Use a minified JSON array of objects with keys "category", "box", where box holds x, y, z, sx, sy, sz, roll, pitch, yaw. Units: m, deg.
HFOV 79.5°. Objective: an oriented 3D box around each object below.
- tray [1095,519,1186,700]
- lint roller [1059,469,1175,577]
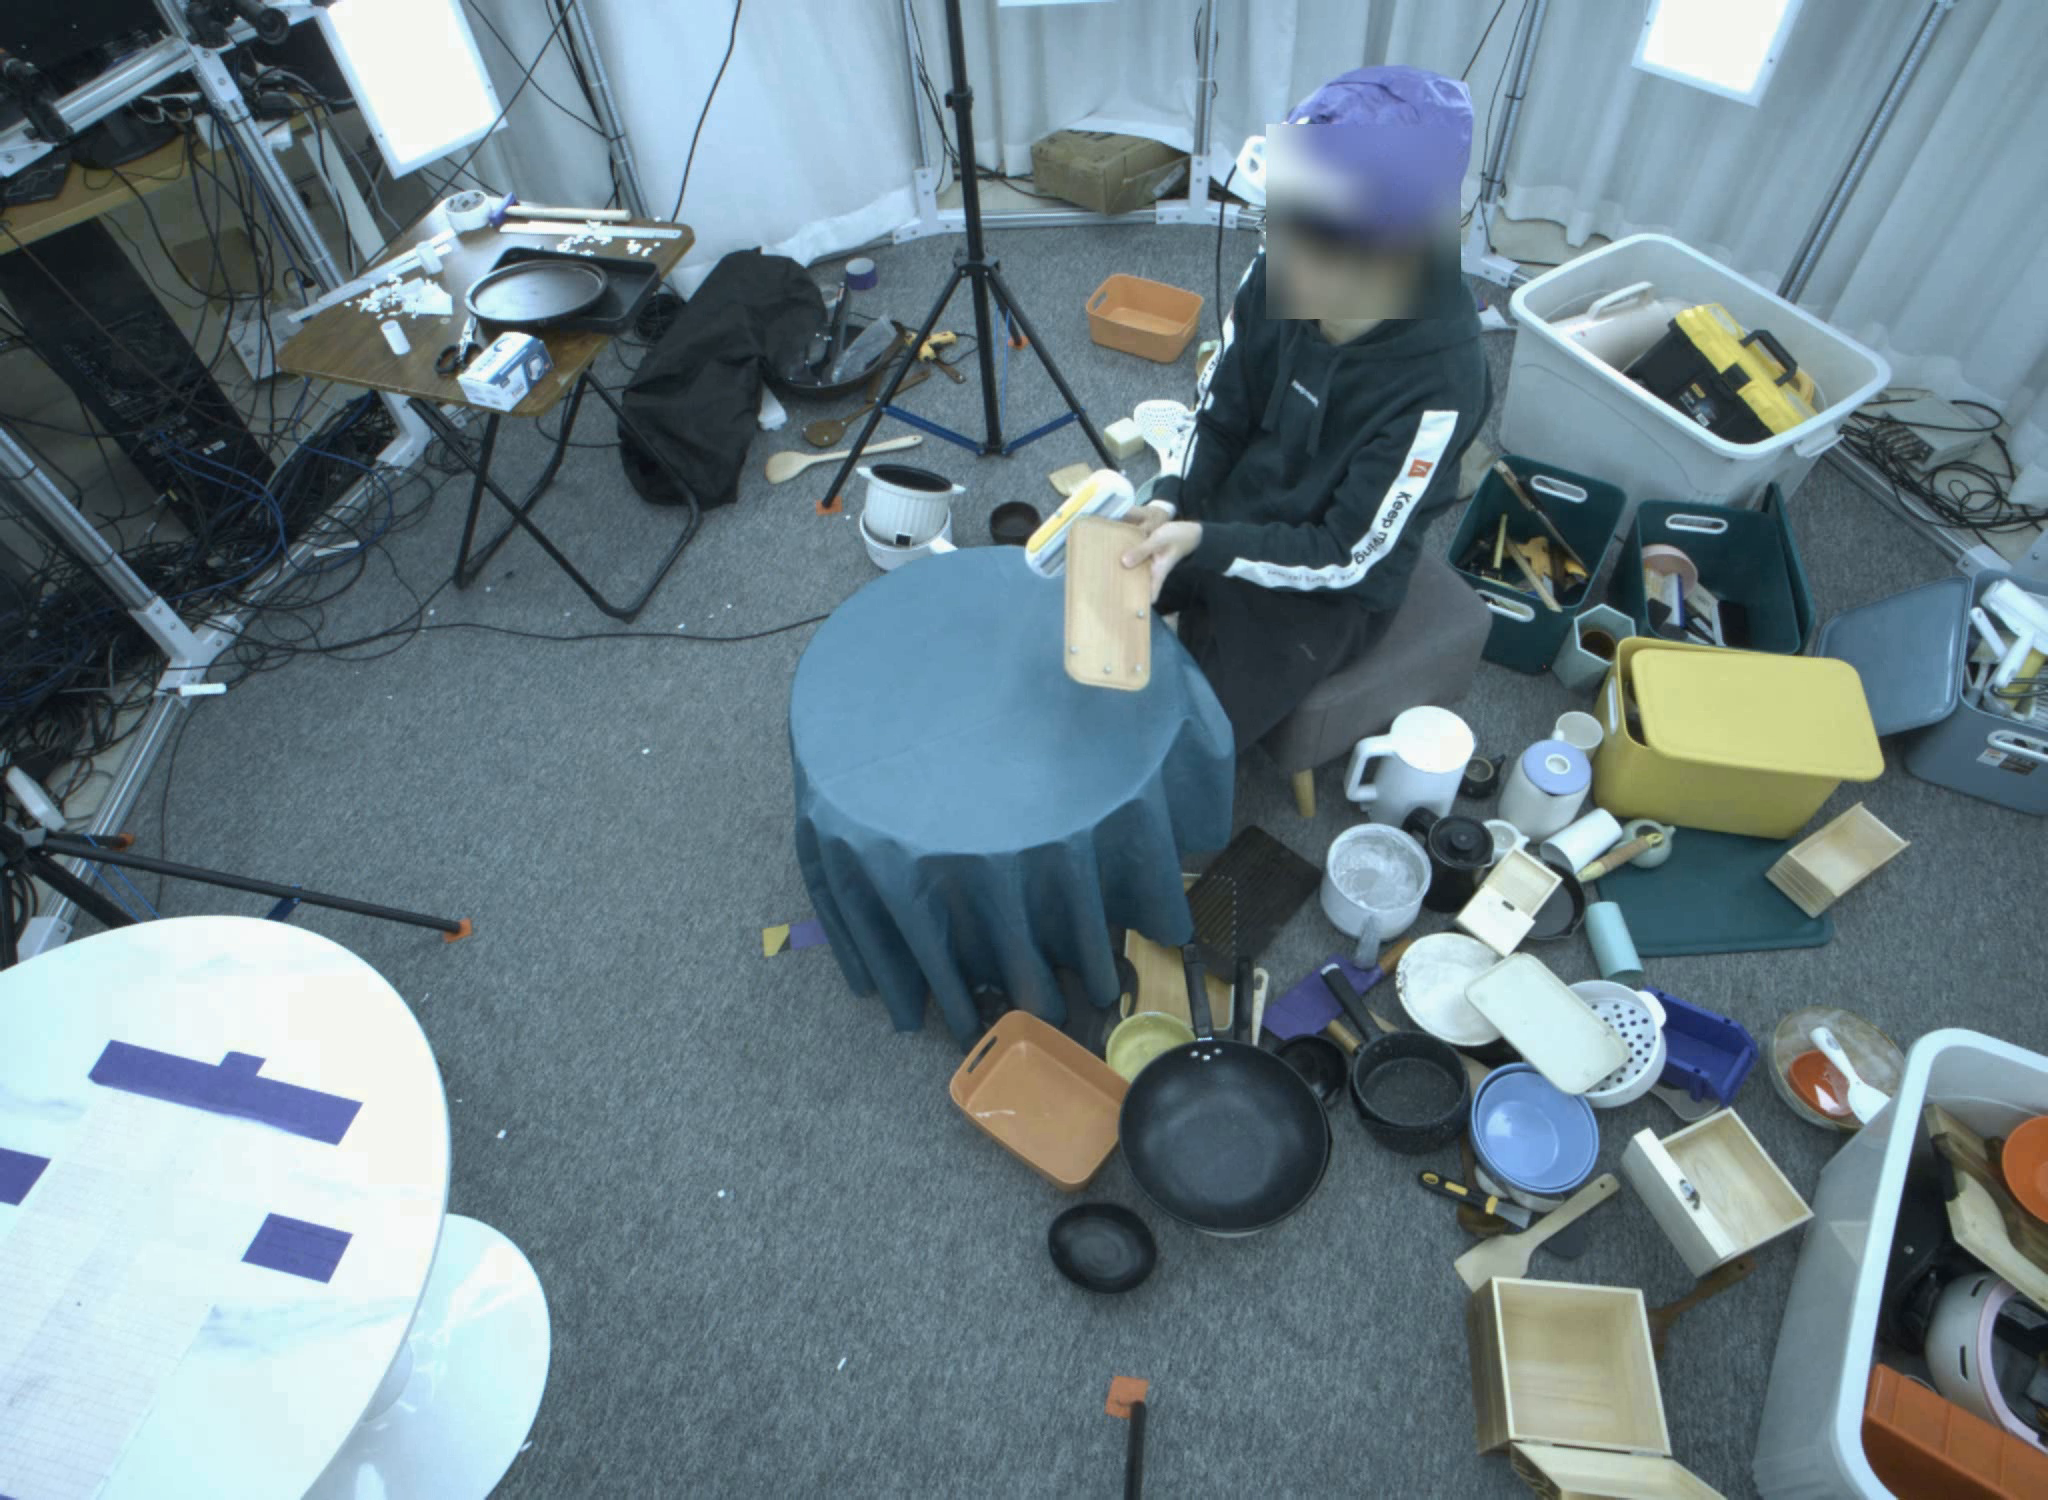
[{"category":"tray","box":[0.160,-0.194,1.693,0.133,0.022,0.249,10,74,-23]},{"category":"lint roller","box":[0.165,-0.312,1.792,0.191,0.197,0.073,-42,52,23]}]
